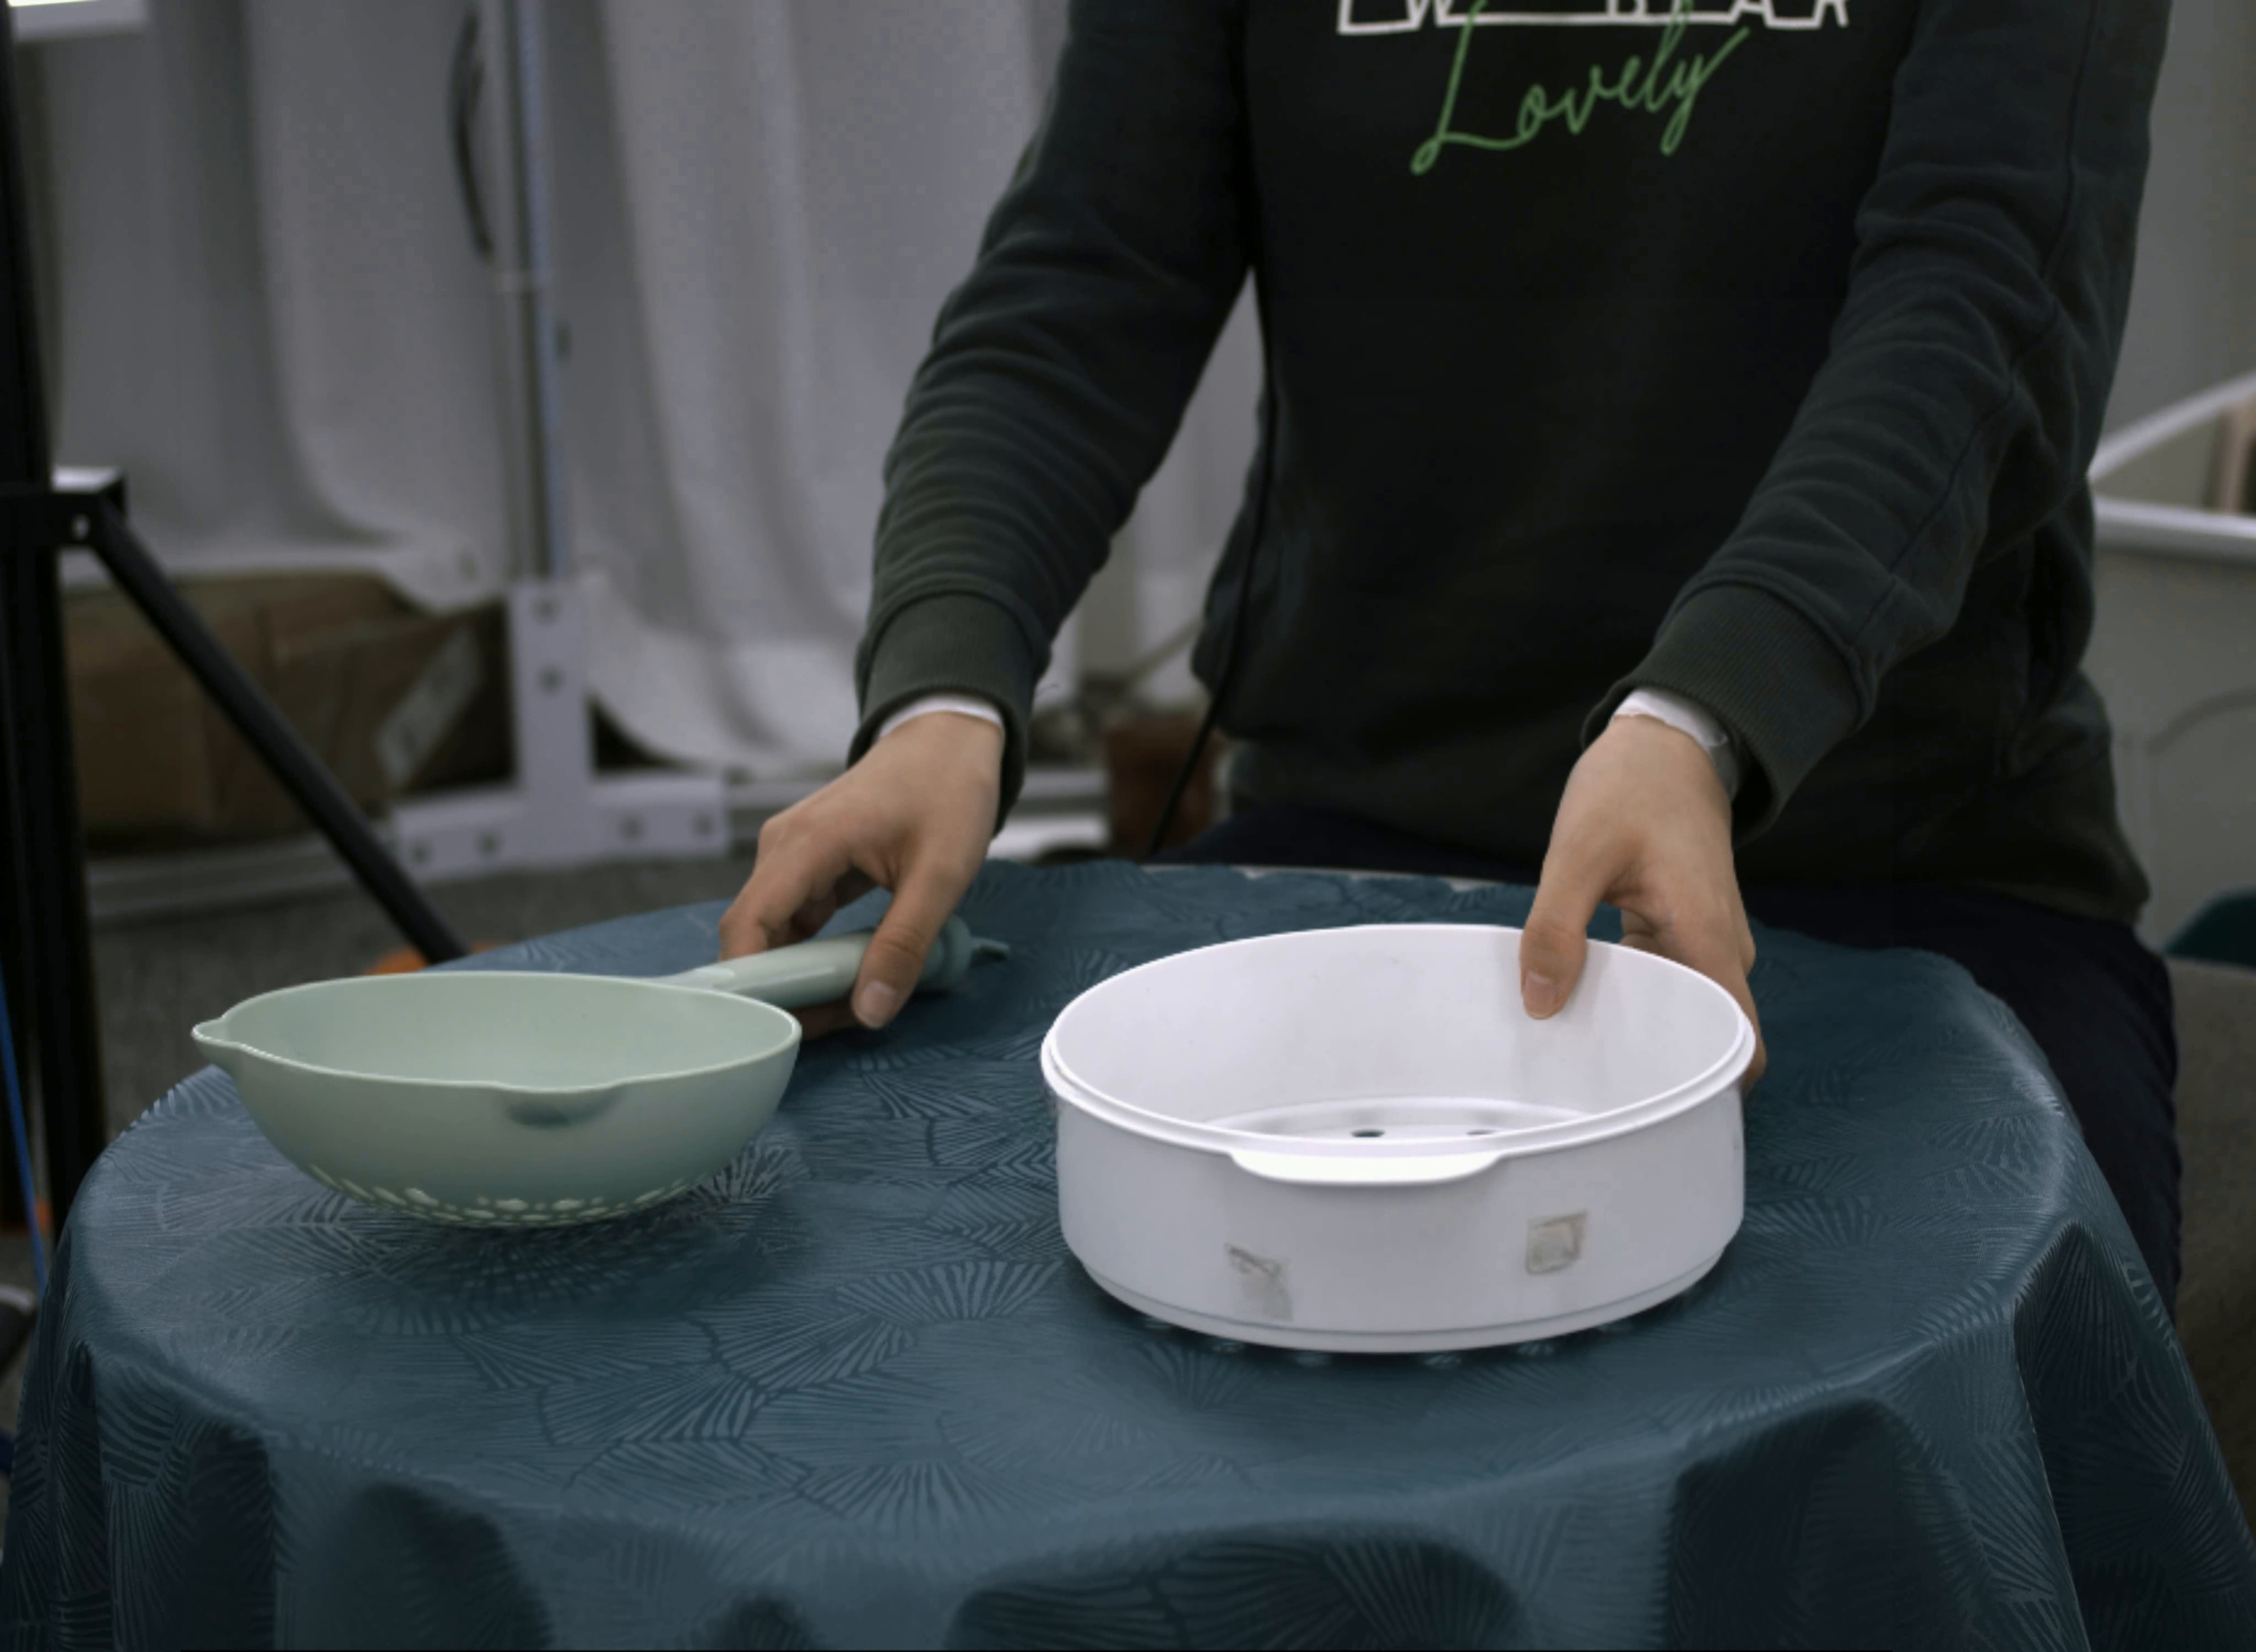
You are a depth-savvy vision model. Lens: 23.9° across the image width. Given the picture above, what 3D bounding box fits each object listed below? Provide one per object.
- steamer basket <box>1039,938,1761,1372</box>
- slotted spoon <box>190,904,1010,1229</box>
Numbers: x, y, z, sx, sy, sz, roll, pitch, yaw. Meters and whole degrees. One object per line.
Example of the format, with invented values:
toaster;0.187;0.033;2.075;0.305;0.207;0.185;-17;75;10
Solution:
steamer basket;0.076;0.092;1.487;0.202;0.069;0.230;1;16;8
slotted spoon;-0.133;0.058;1.637;0.172;0.075;0.352;7;18;29
